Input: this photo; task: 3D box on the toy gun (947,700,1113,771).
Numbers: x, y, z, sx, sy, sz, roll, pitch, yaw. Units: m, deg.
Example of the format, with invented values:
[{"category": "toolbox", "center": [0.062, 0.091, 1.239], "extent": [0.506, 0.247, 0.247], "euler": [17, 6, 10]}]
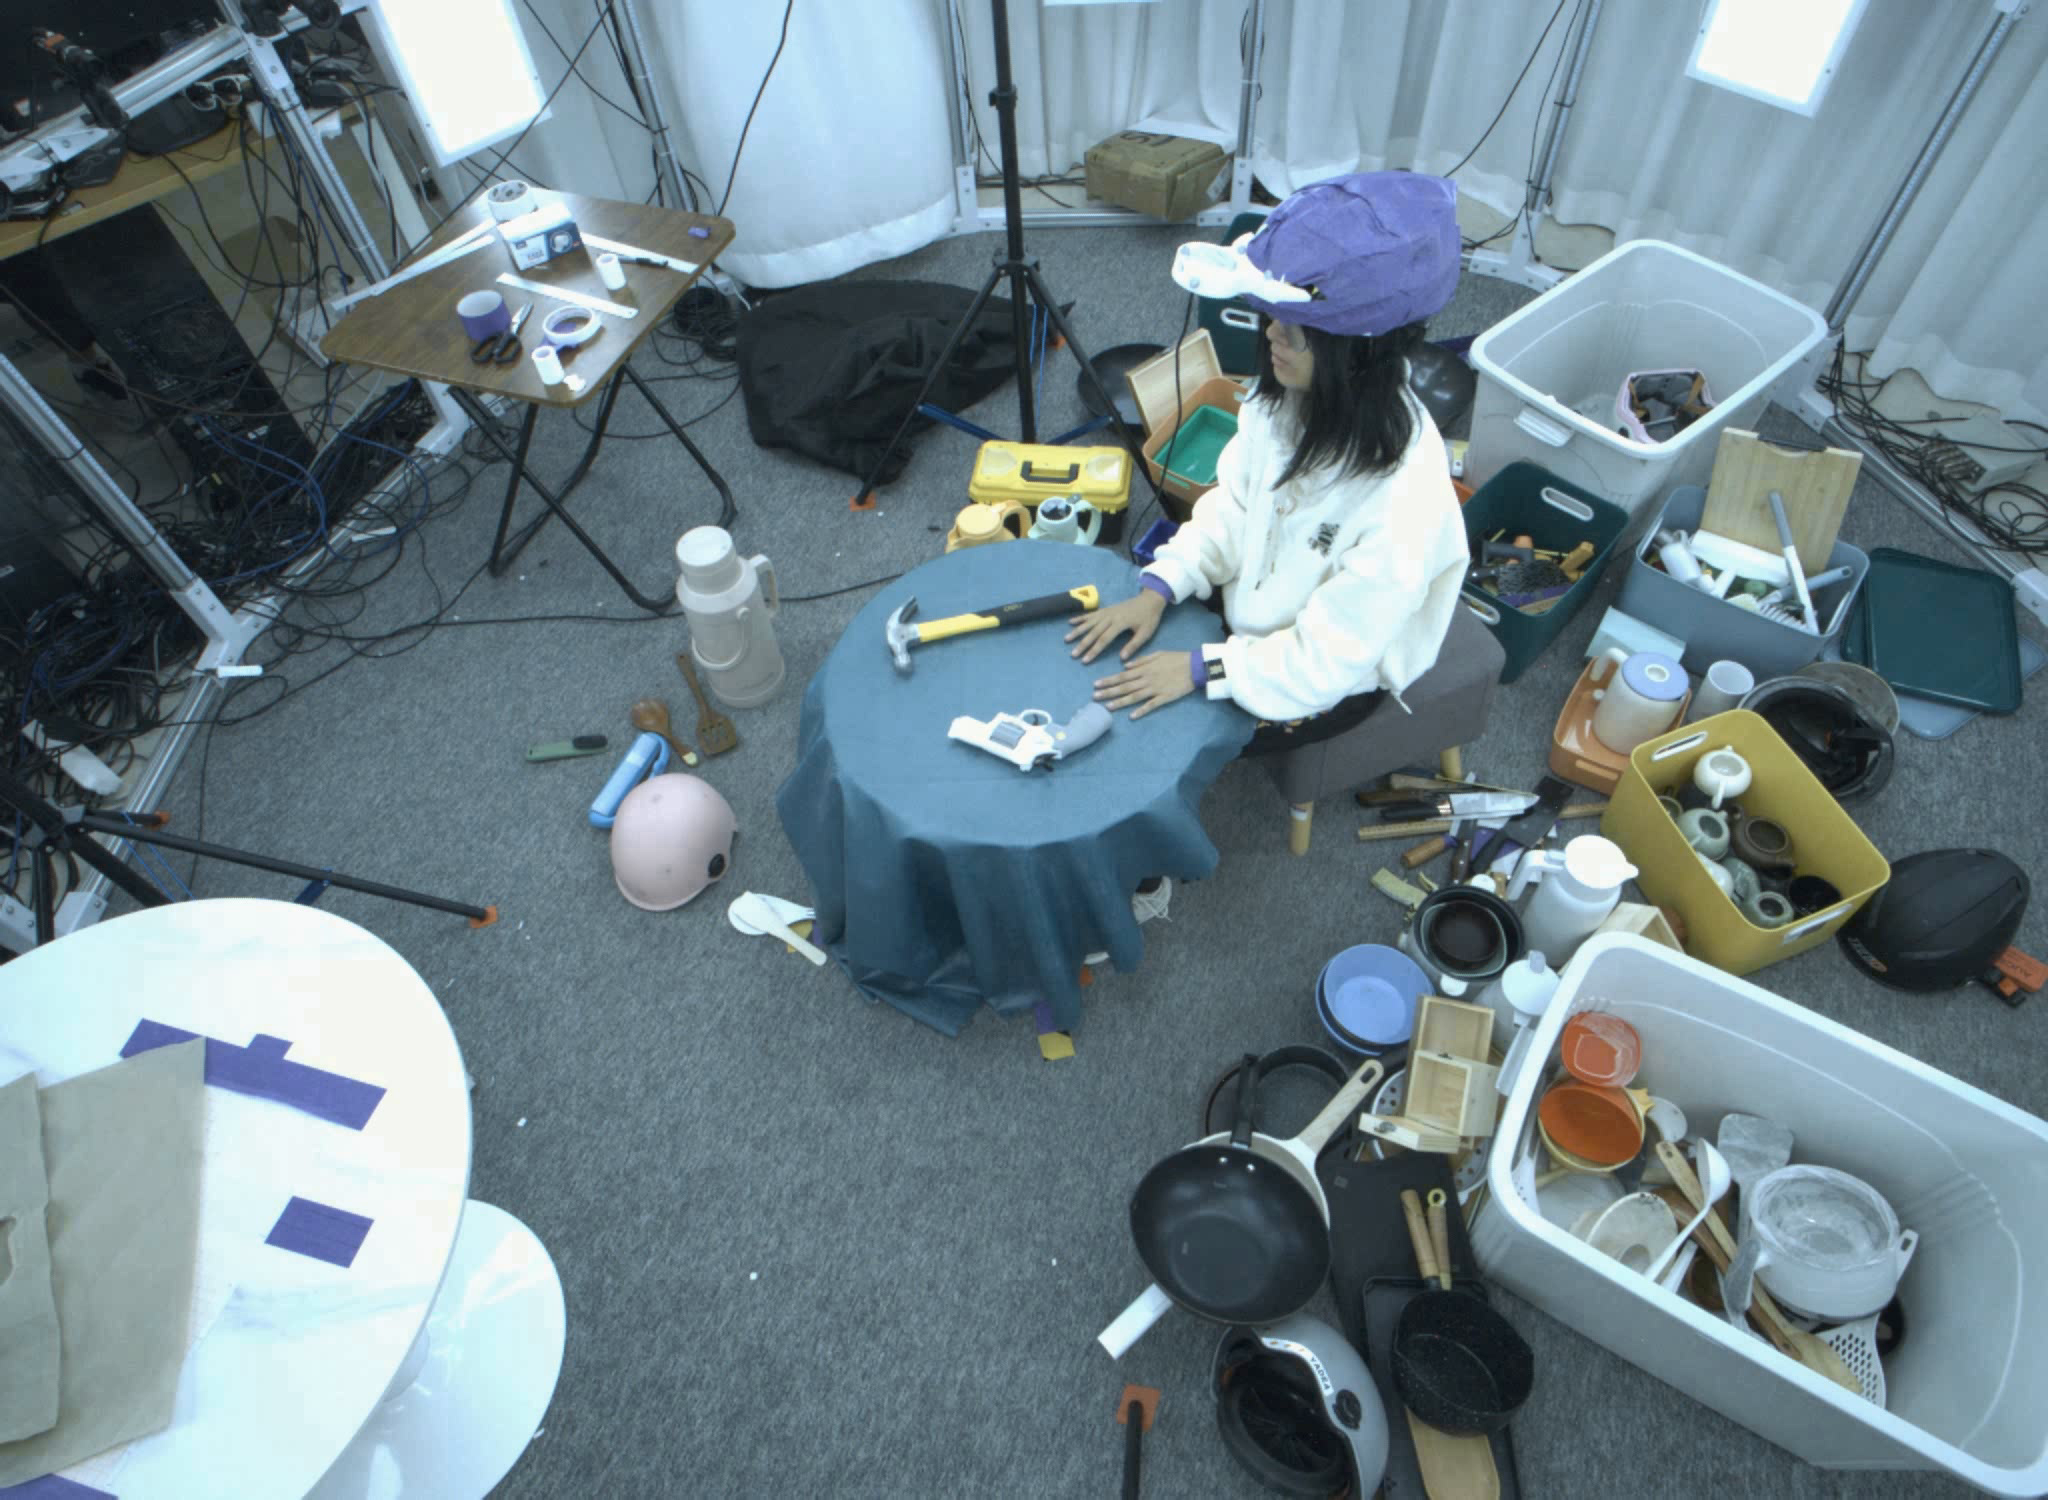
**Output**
[{"category": "toy gun", "center": [0.009, -0.035, 1.789], "extent": [0.206, 0.039, 0.142], "euler": [21, 59, 16]}]

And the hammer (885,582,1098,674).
[{"category": "hammer", "center": [-0.050, -0.210, 1.916], "extent": [0.340, 0.032, 0.129], "euler": [-14, 53, -6]}]
